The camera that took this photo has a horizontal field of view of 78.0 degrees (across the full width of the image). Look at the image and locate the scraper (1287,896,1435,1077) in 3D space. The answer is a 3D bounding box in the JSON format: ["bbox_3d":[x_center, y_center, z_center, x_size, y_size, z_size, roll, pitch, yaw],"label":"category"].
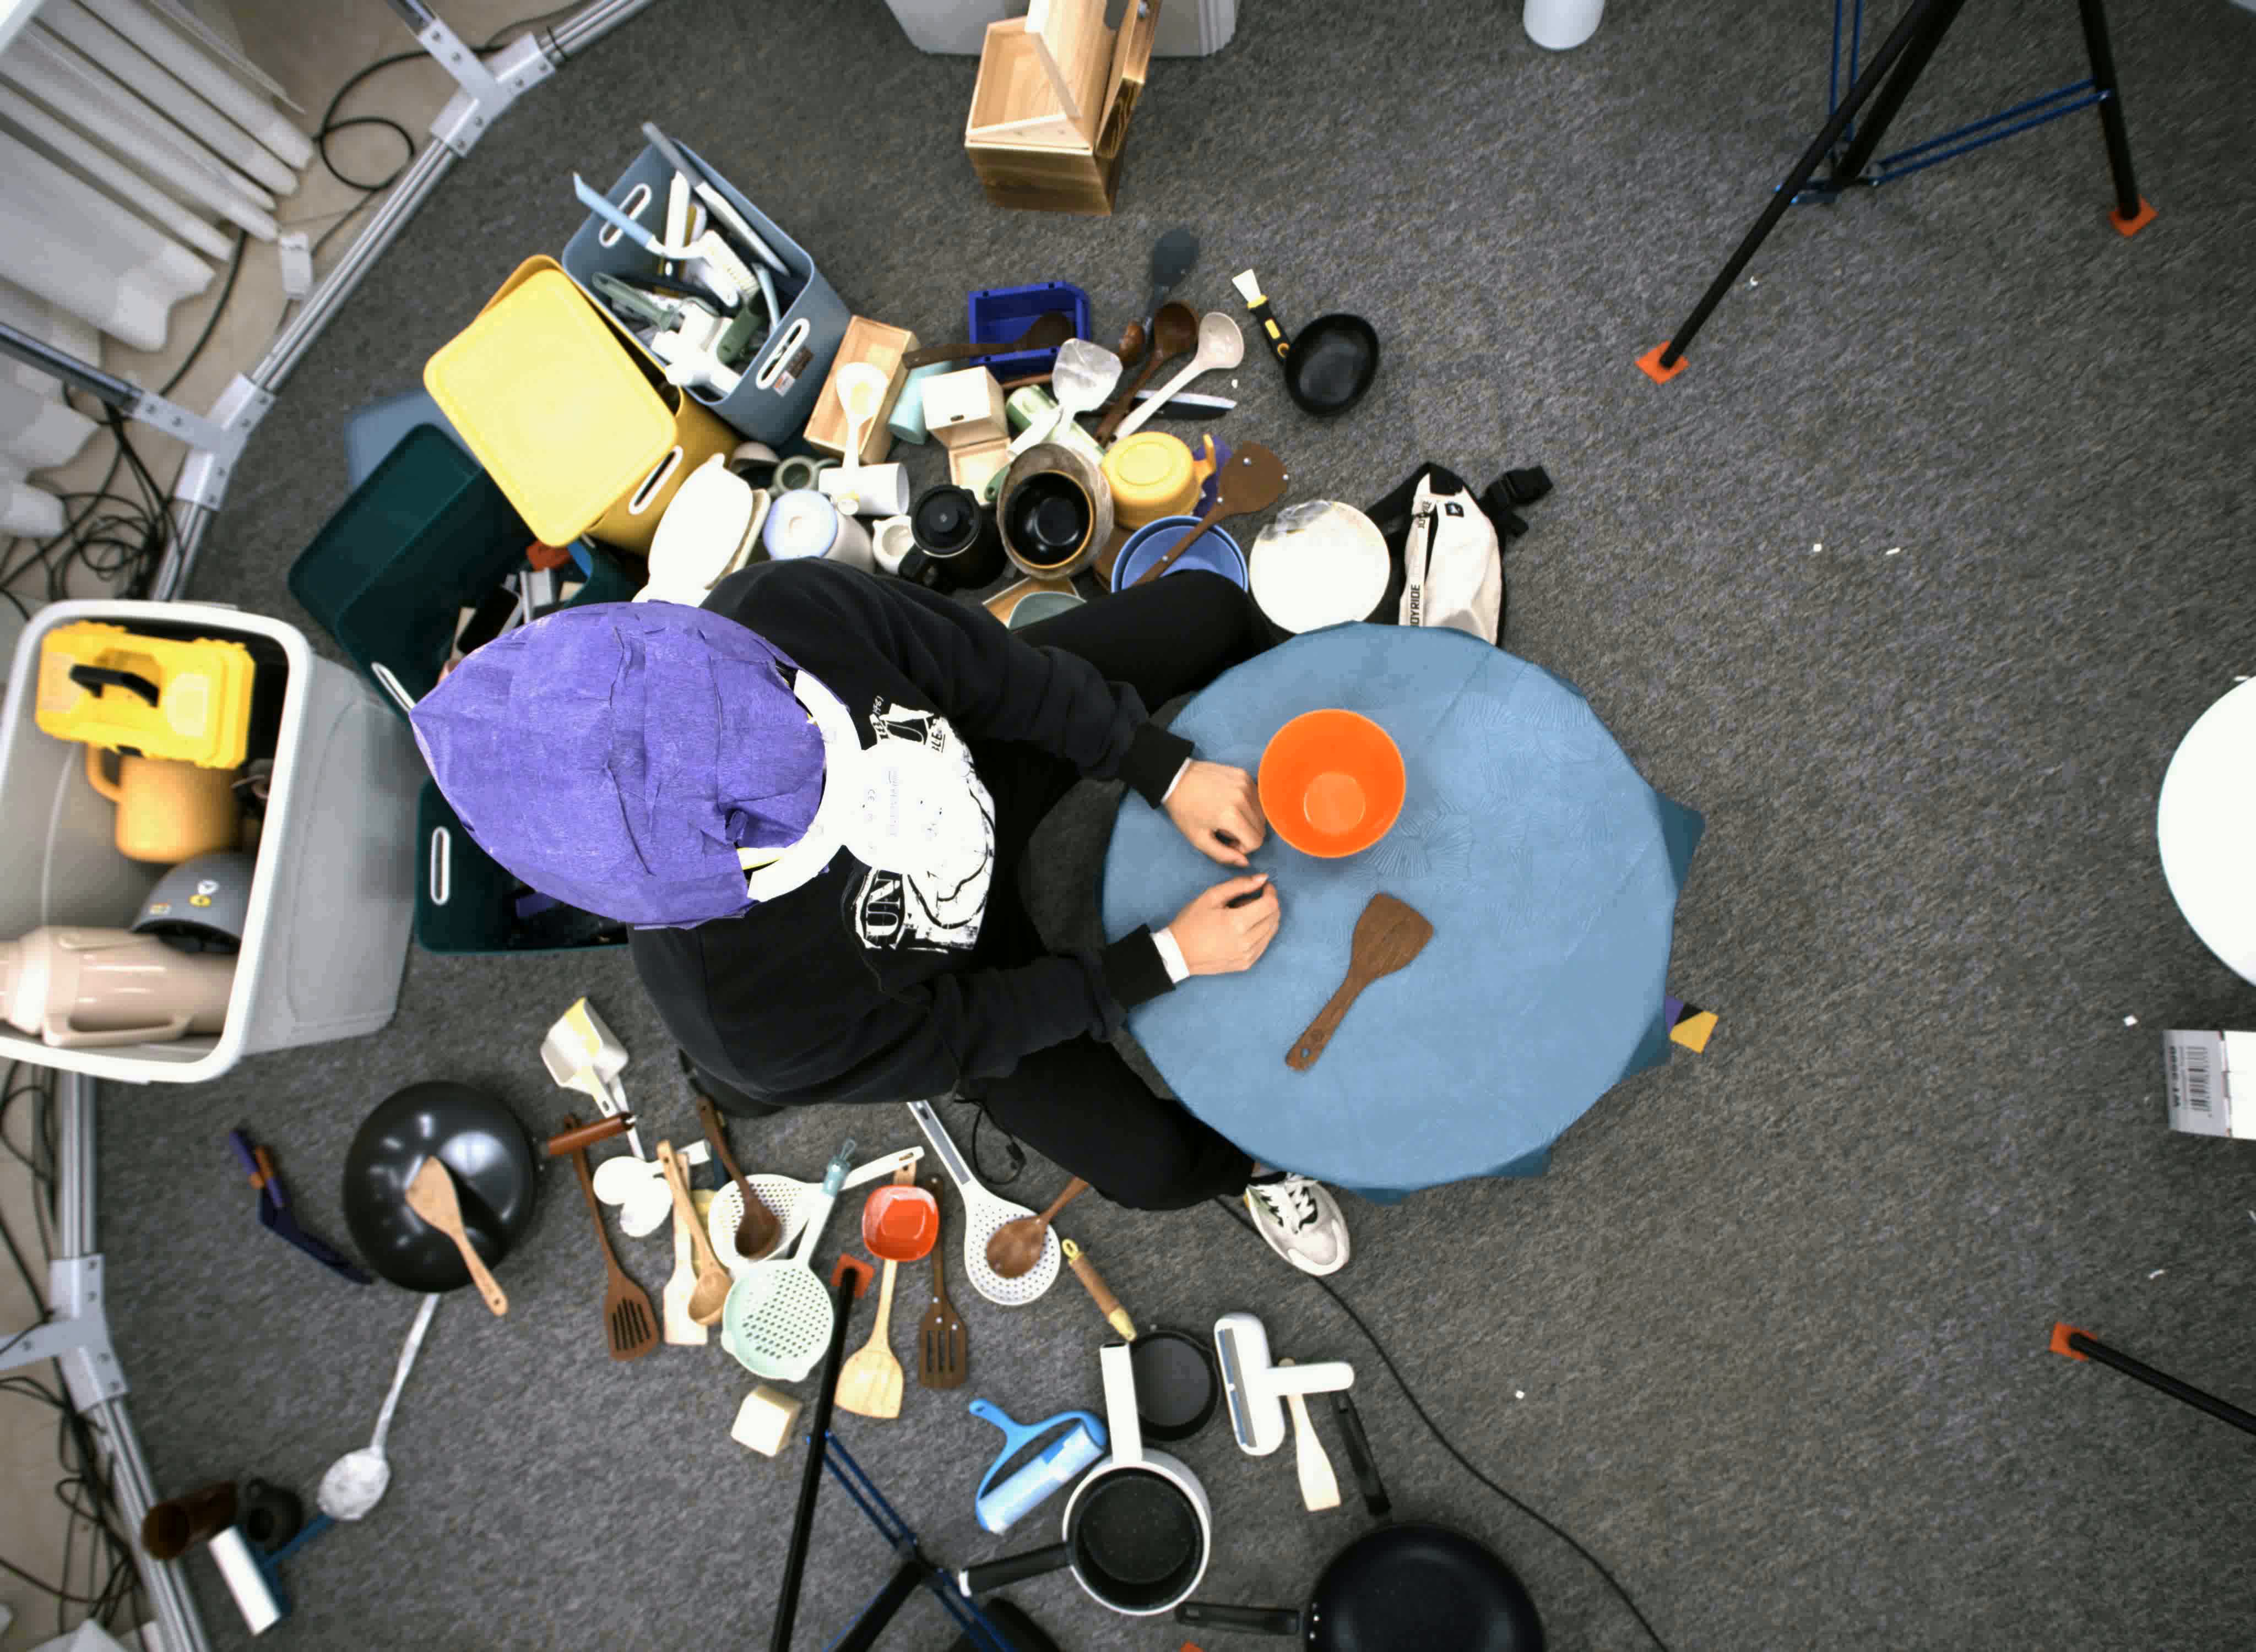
[{"bbox_3d":[0.237,0.173,1.460,0.075,0.011,0.212,36,94,12],"label":"scraper"}]

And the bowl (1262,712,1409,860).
[{"bbox_3d":[0.215,-0.037,1.431,0.148,0.105,0.147,-1,85,9],"label":"bowl"}]
